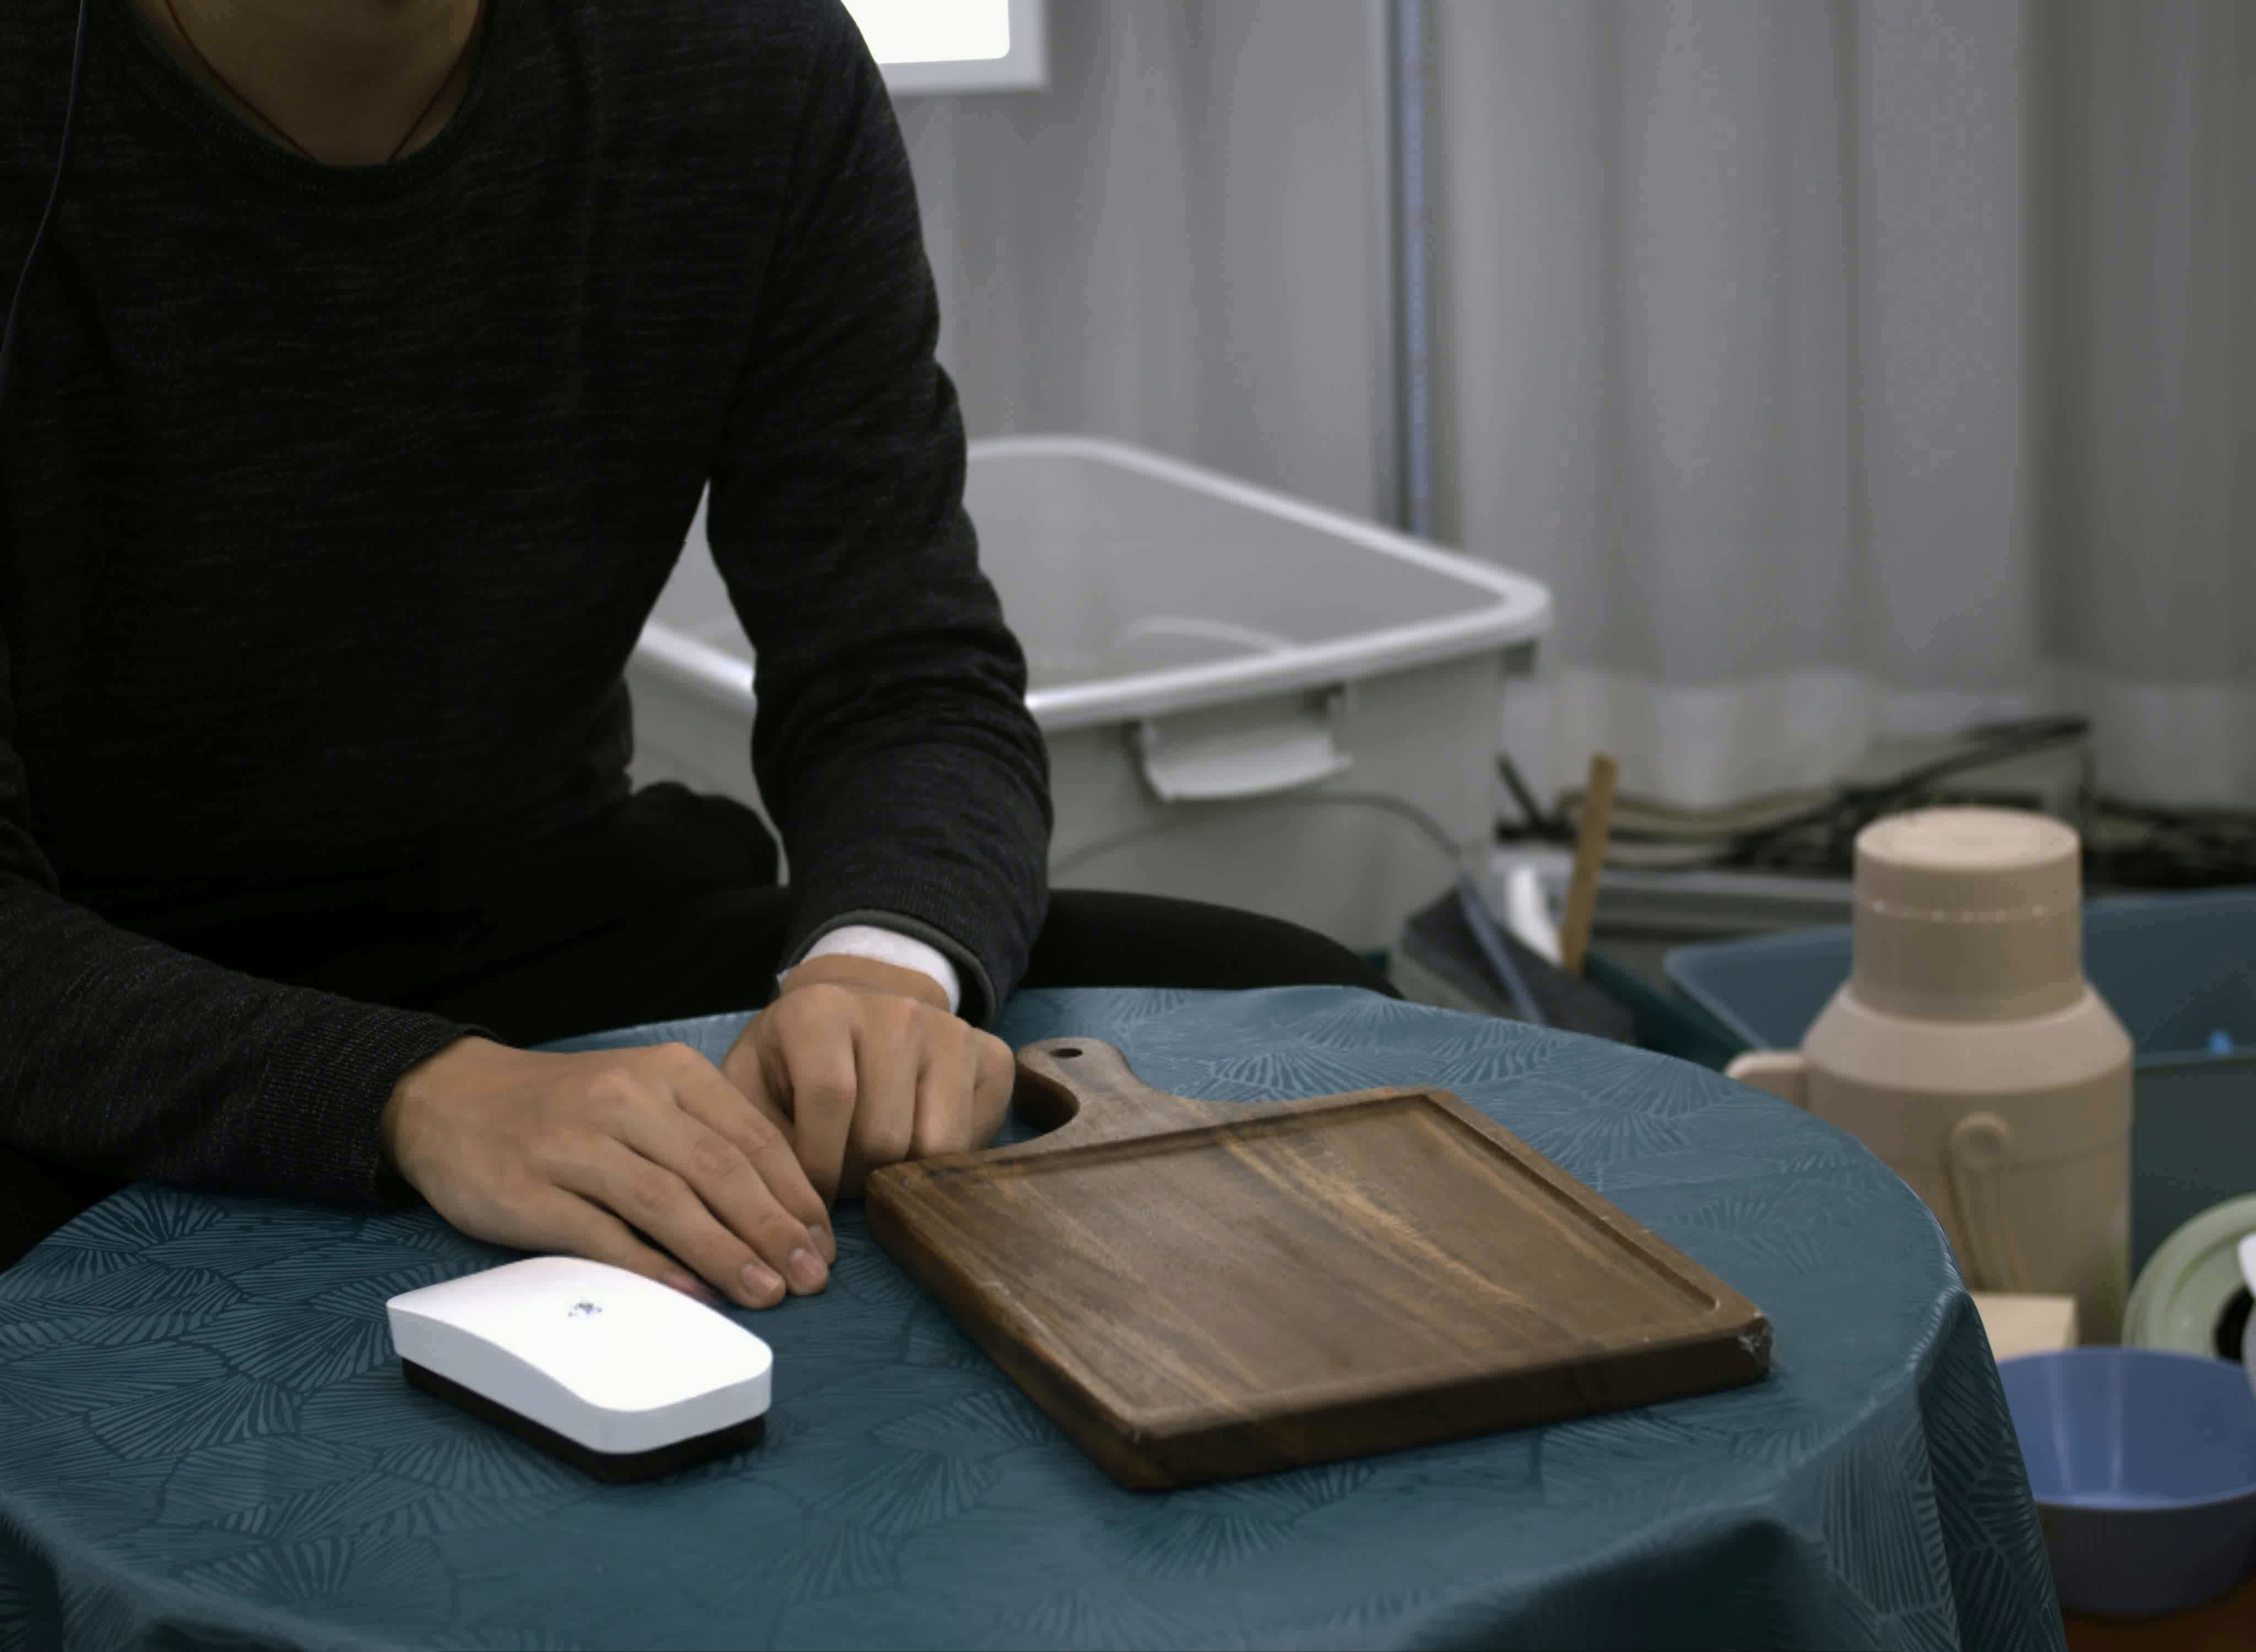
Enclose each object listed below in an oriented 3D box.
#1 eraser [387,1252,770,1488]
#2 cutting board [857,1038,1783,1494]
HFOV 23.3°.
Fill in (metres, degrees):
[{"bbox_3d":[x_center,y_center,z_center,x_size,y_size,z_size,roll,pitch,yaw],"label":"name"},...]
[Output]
[{"bbox_3d":[-0.155,0.150,1.551,0.063,0.034,0.132,-14,20,-34],"label":"eraser"},{"bbox_3d":[0.033,0.119,1.650,0.200,0.023,0.355,-8,16,-19],"label":"cutting board"}]
